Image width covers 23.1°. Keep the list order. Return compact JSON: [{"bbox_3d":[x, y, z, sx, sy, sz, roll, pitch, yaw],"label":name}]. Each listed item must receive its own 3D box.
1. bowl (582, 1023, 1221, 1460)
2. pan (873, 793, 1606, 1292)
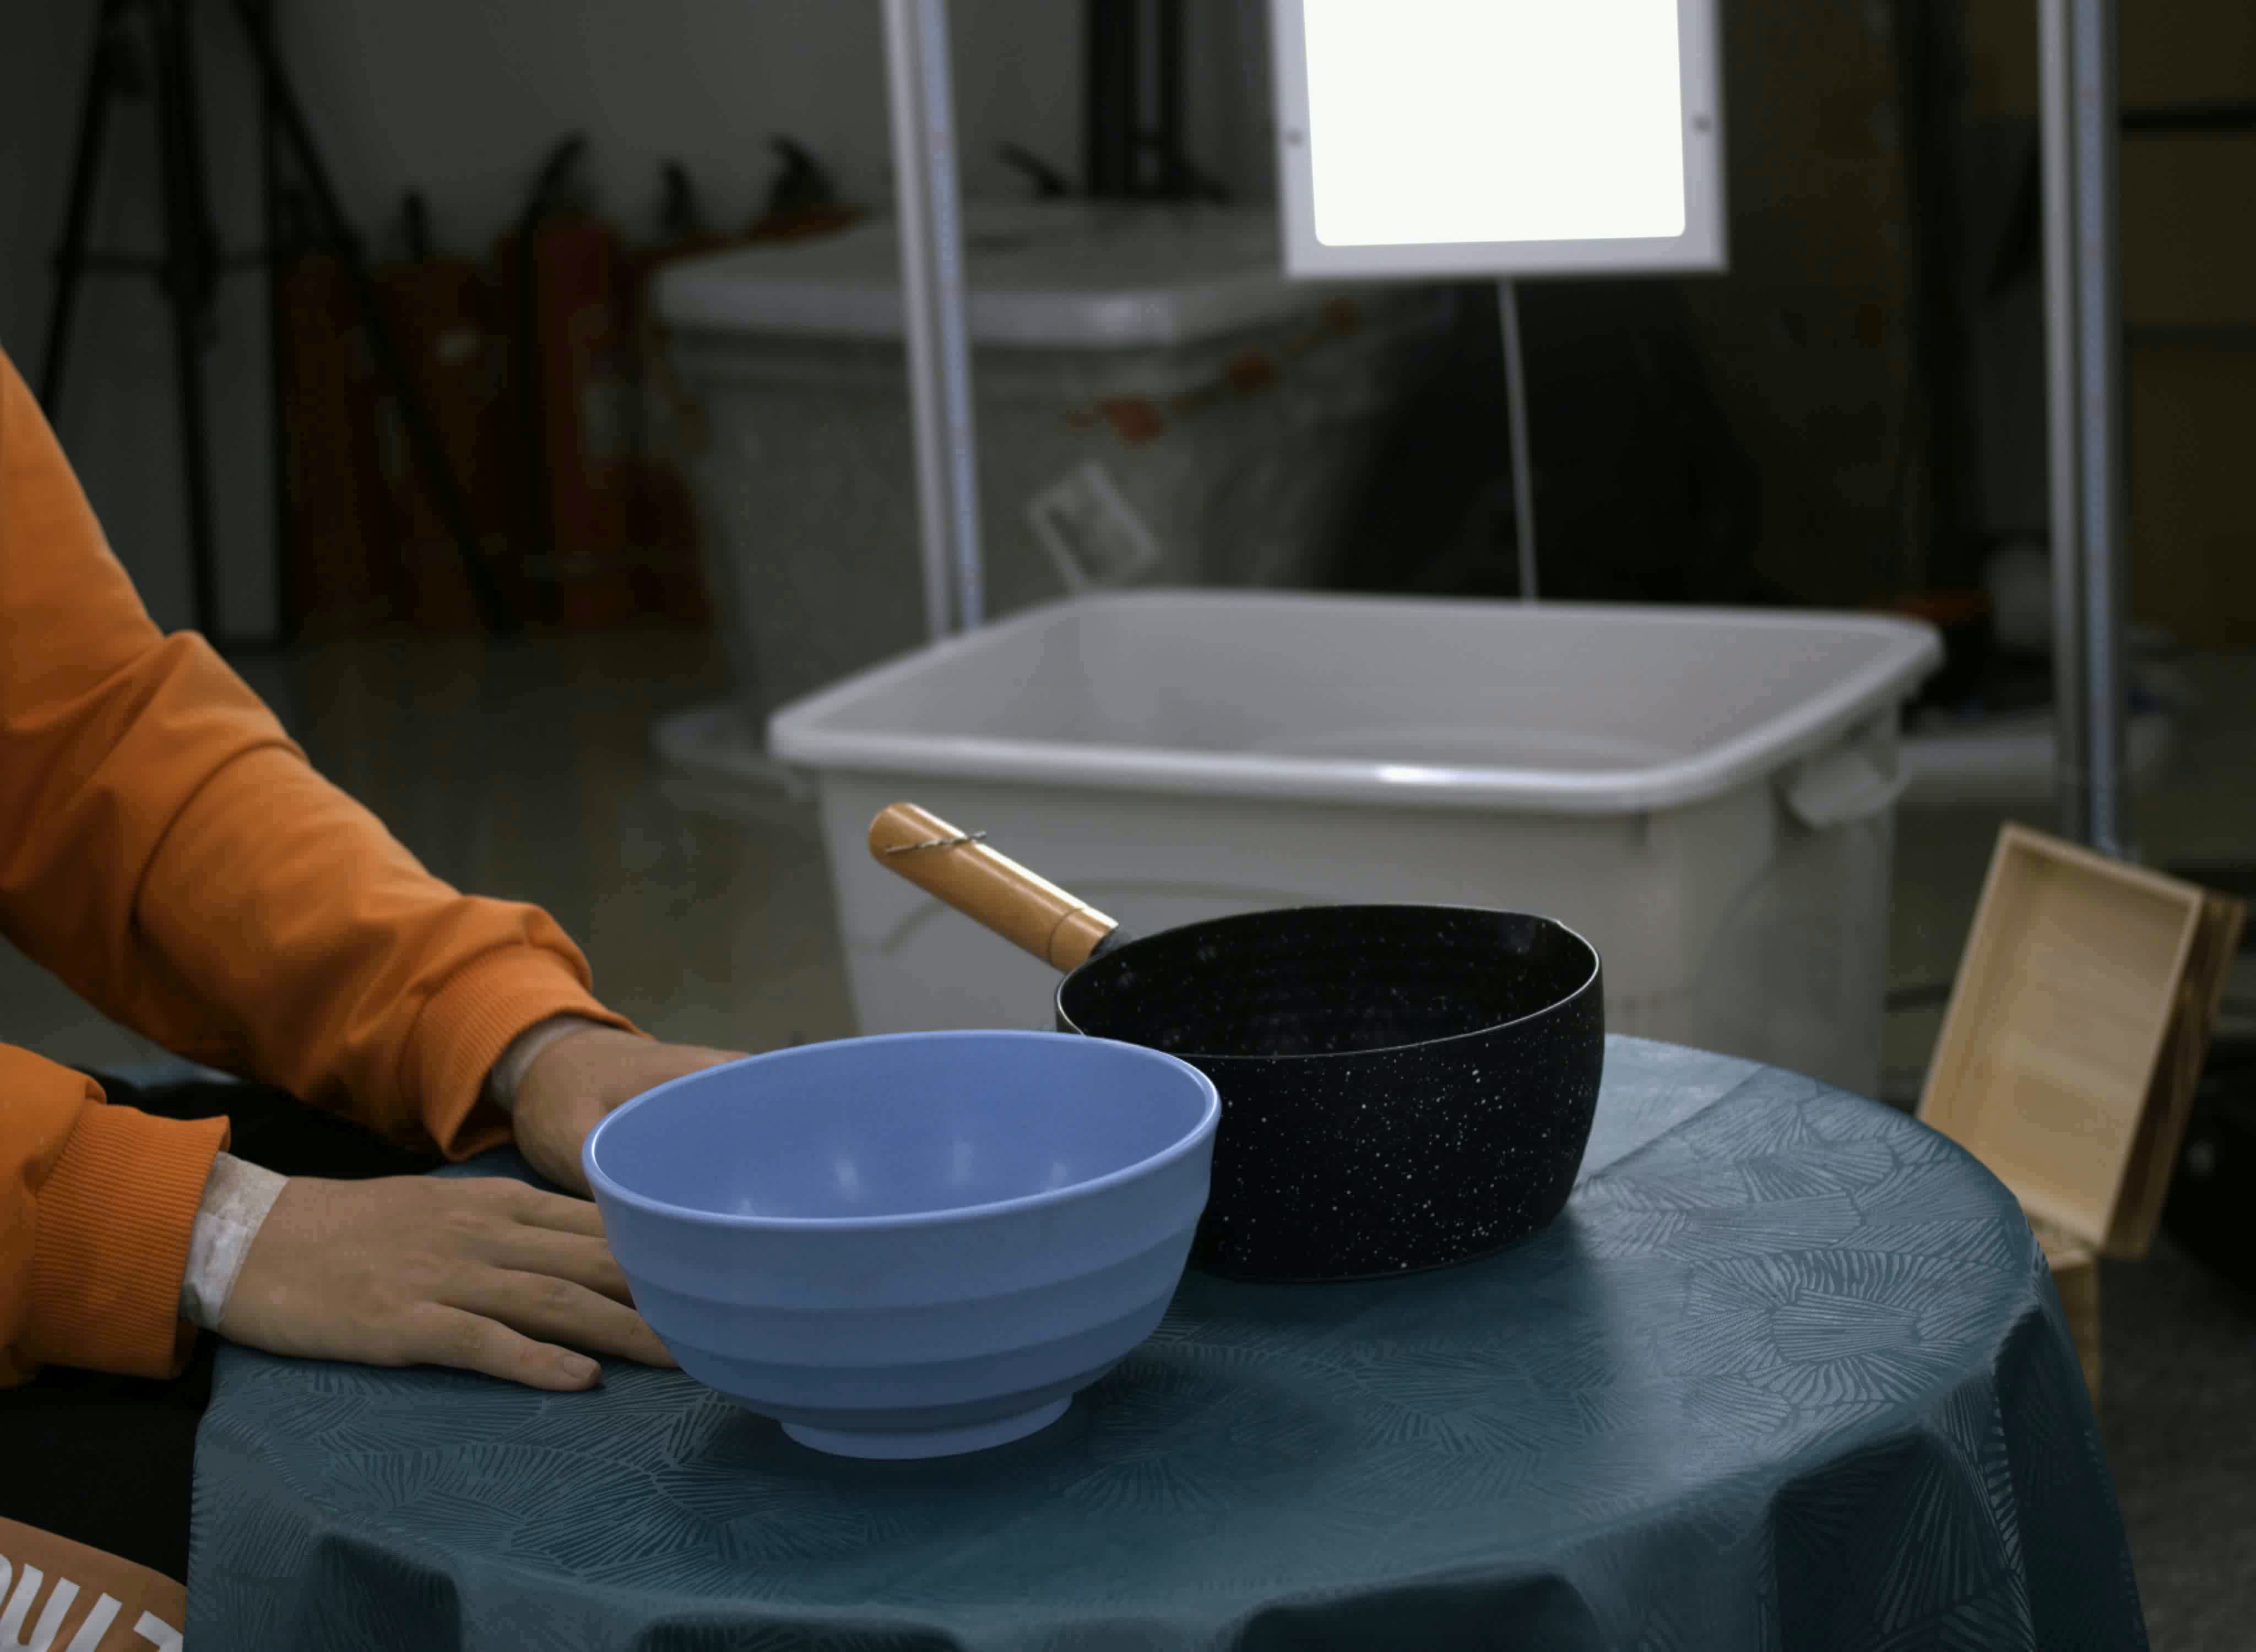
[{"bbox_3d":[-0.066,0.134,1.691,0.196,0.096,0.196,-5,15,0],"label":"bowl"},{"bbox_3d":[0.019,0.068,1.903,0.202,0.108,0.350,-17,19,-35],"label":"pan"}]
